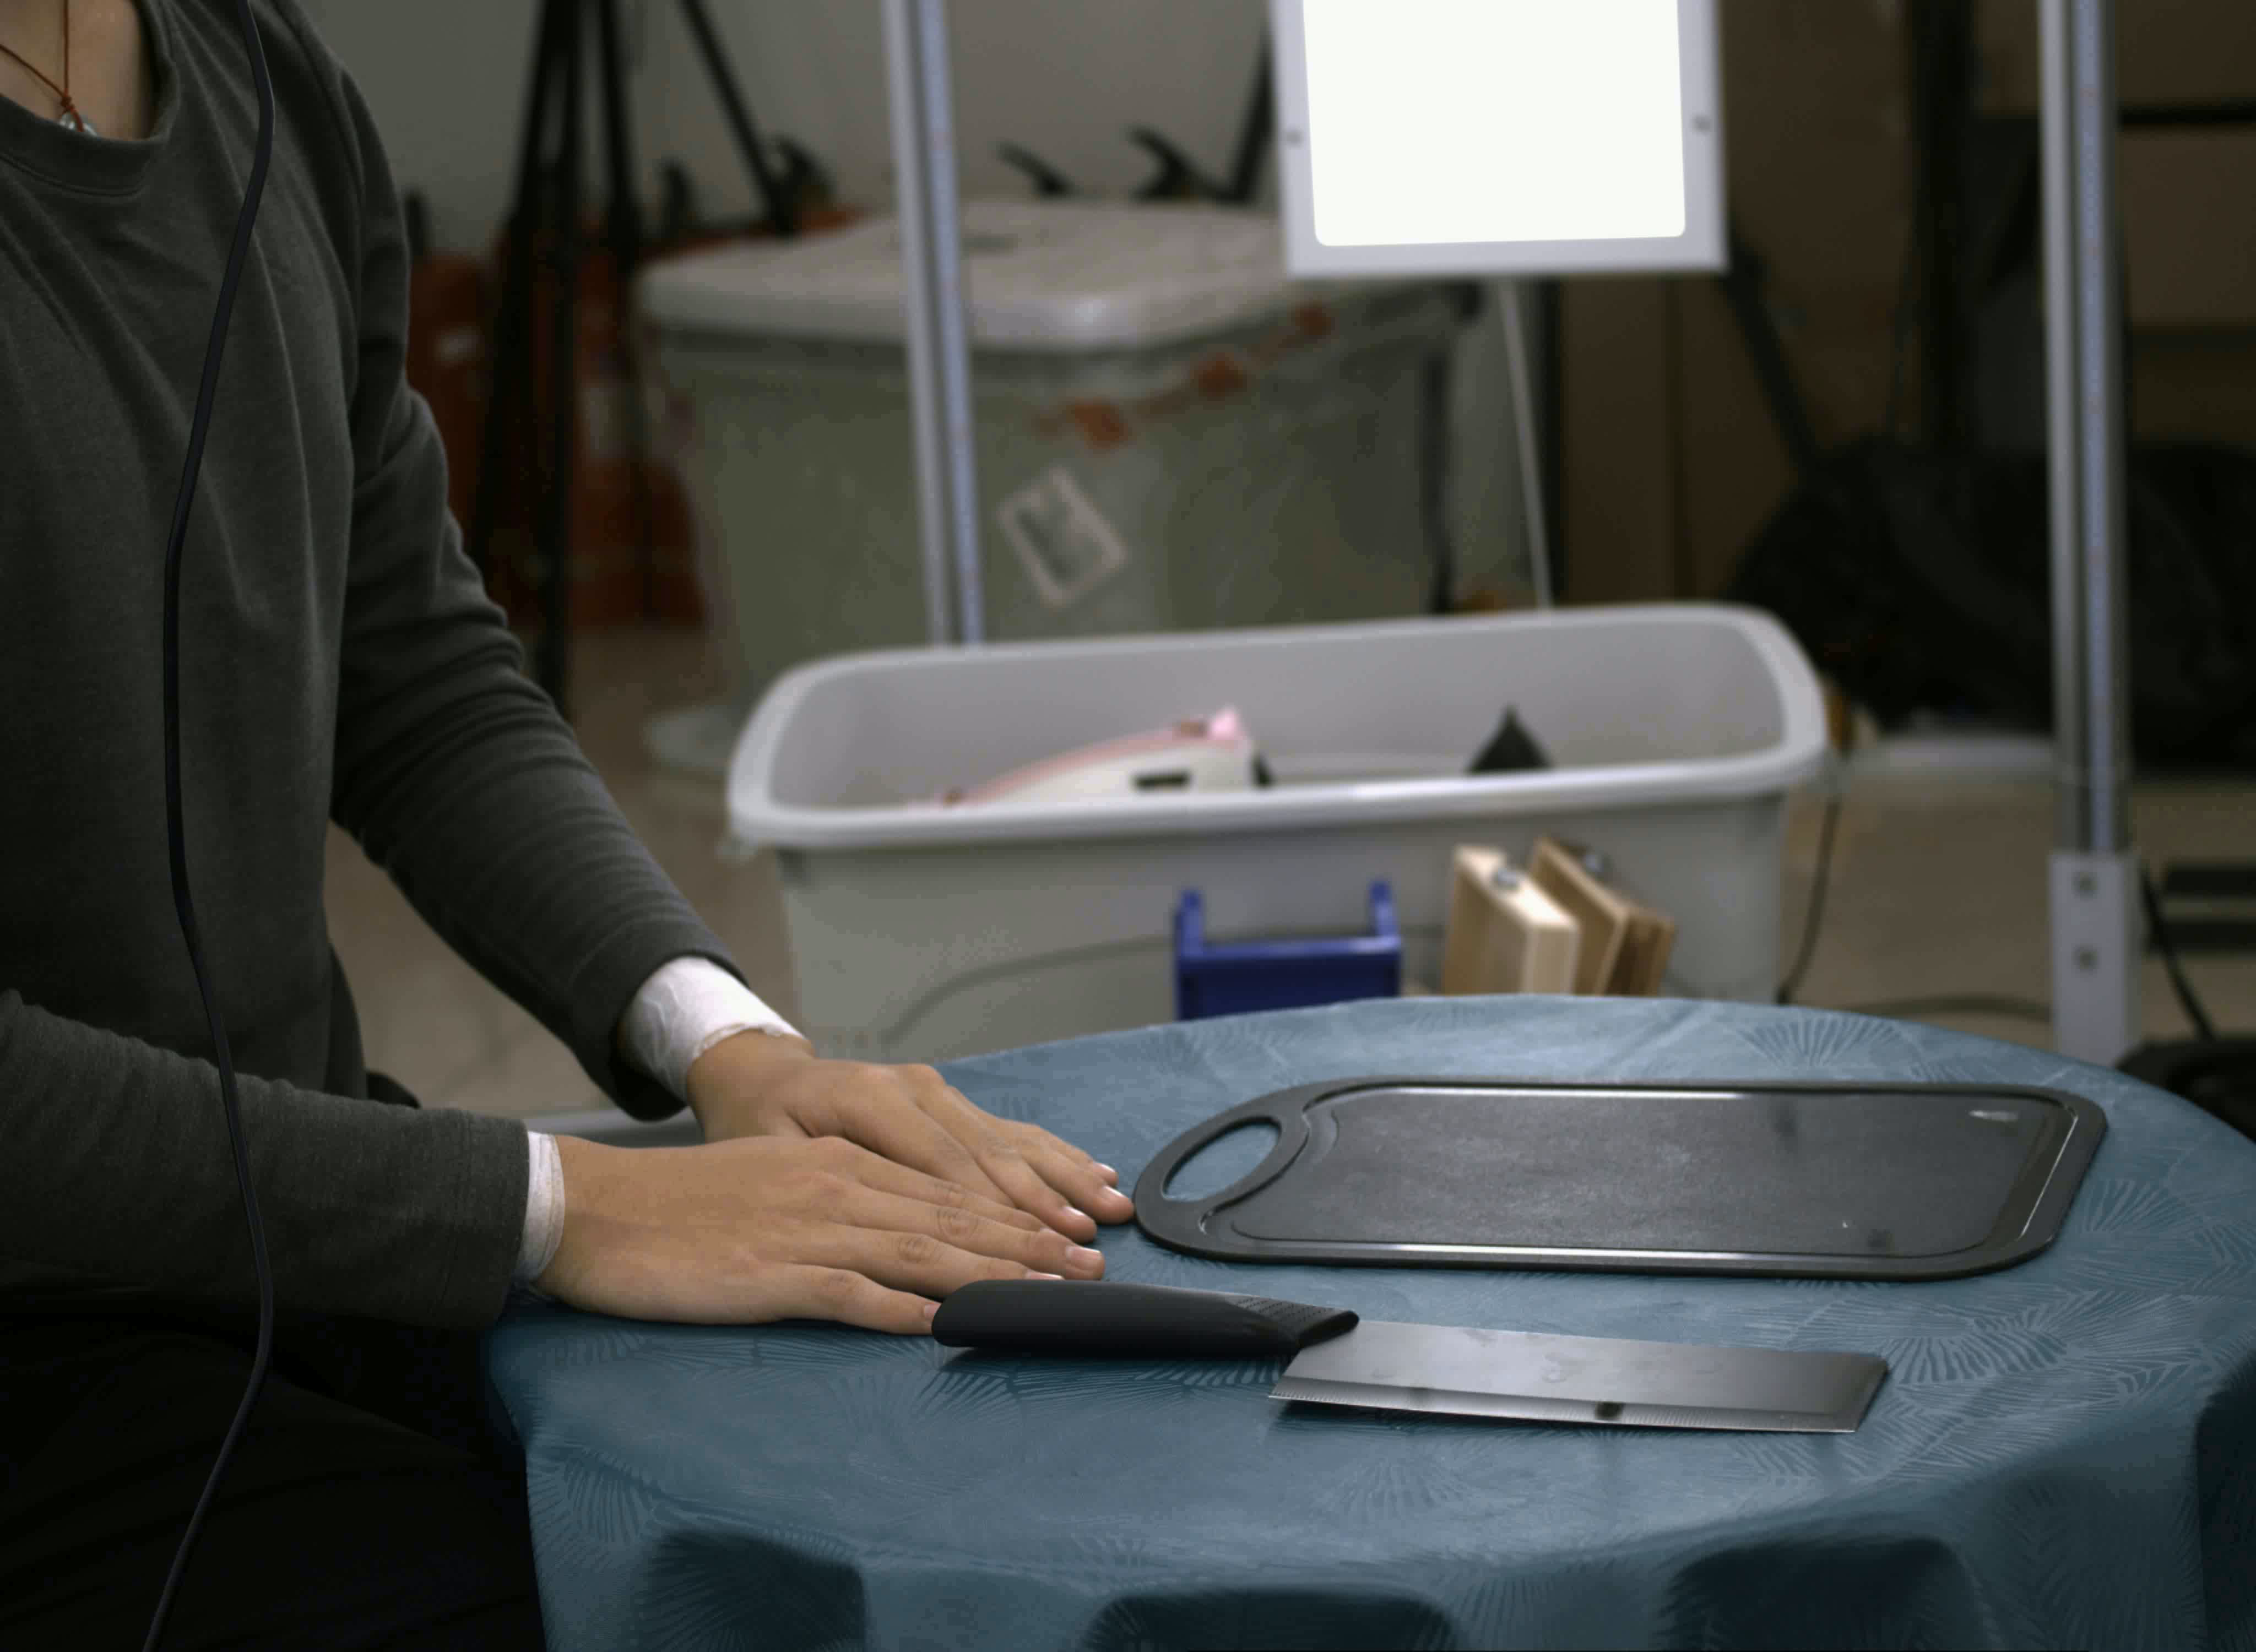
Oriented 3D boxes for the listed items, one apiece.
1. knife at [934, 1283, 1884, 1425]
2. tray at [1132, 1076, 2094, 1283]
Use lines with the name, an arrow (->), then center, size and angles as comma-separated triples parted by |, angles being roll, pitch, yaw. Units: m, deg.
knife -> 0.083, 0.164, 1.691 | 0.307, 0.021, 0.079 | 3, 17, 24
tray -> 0.163, 0.116, 1.873 | 0.330, 0.010, 0.207 | 0, 14, 21
